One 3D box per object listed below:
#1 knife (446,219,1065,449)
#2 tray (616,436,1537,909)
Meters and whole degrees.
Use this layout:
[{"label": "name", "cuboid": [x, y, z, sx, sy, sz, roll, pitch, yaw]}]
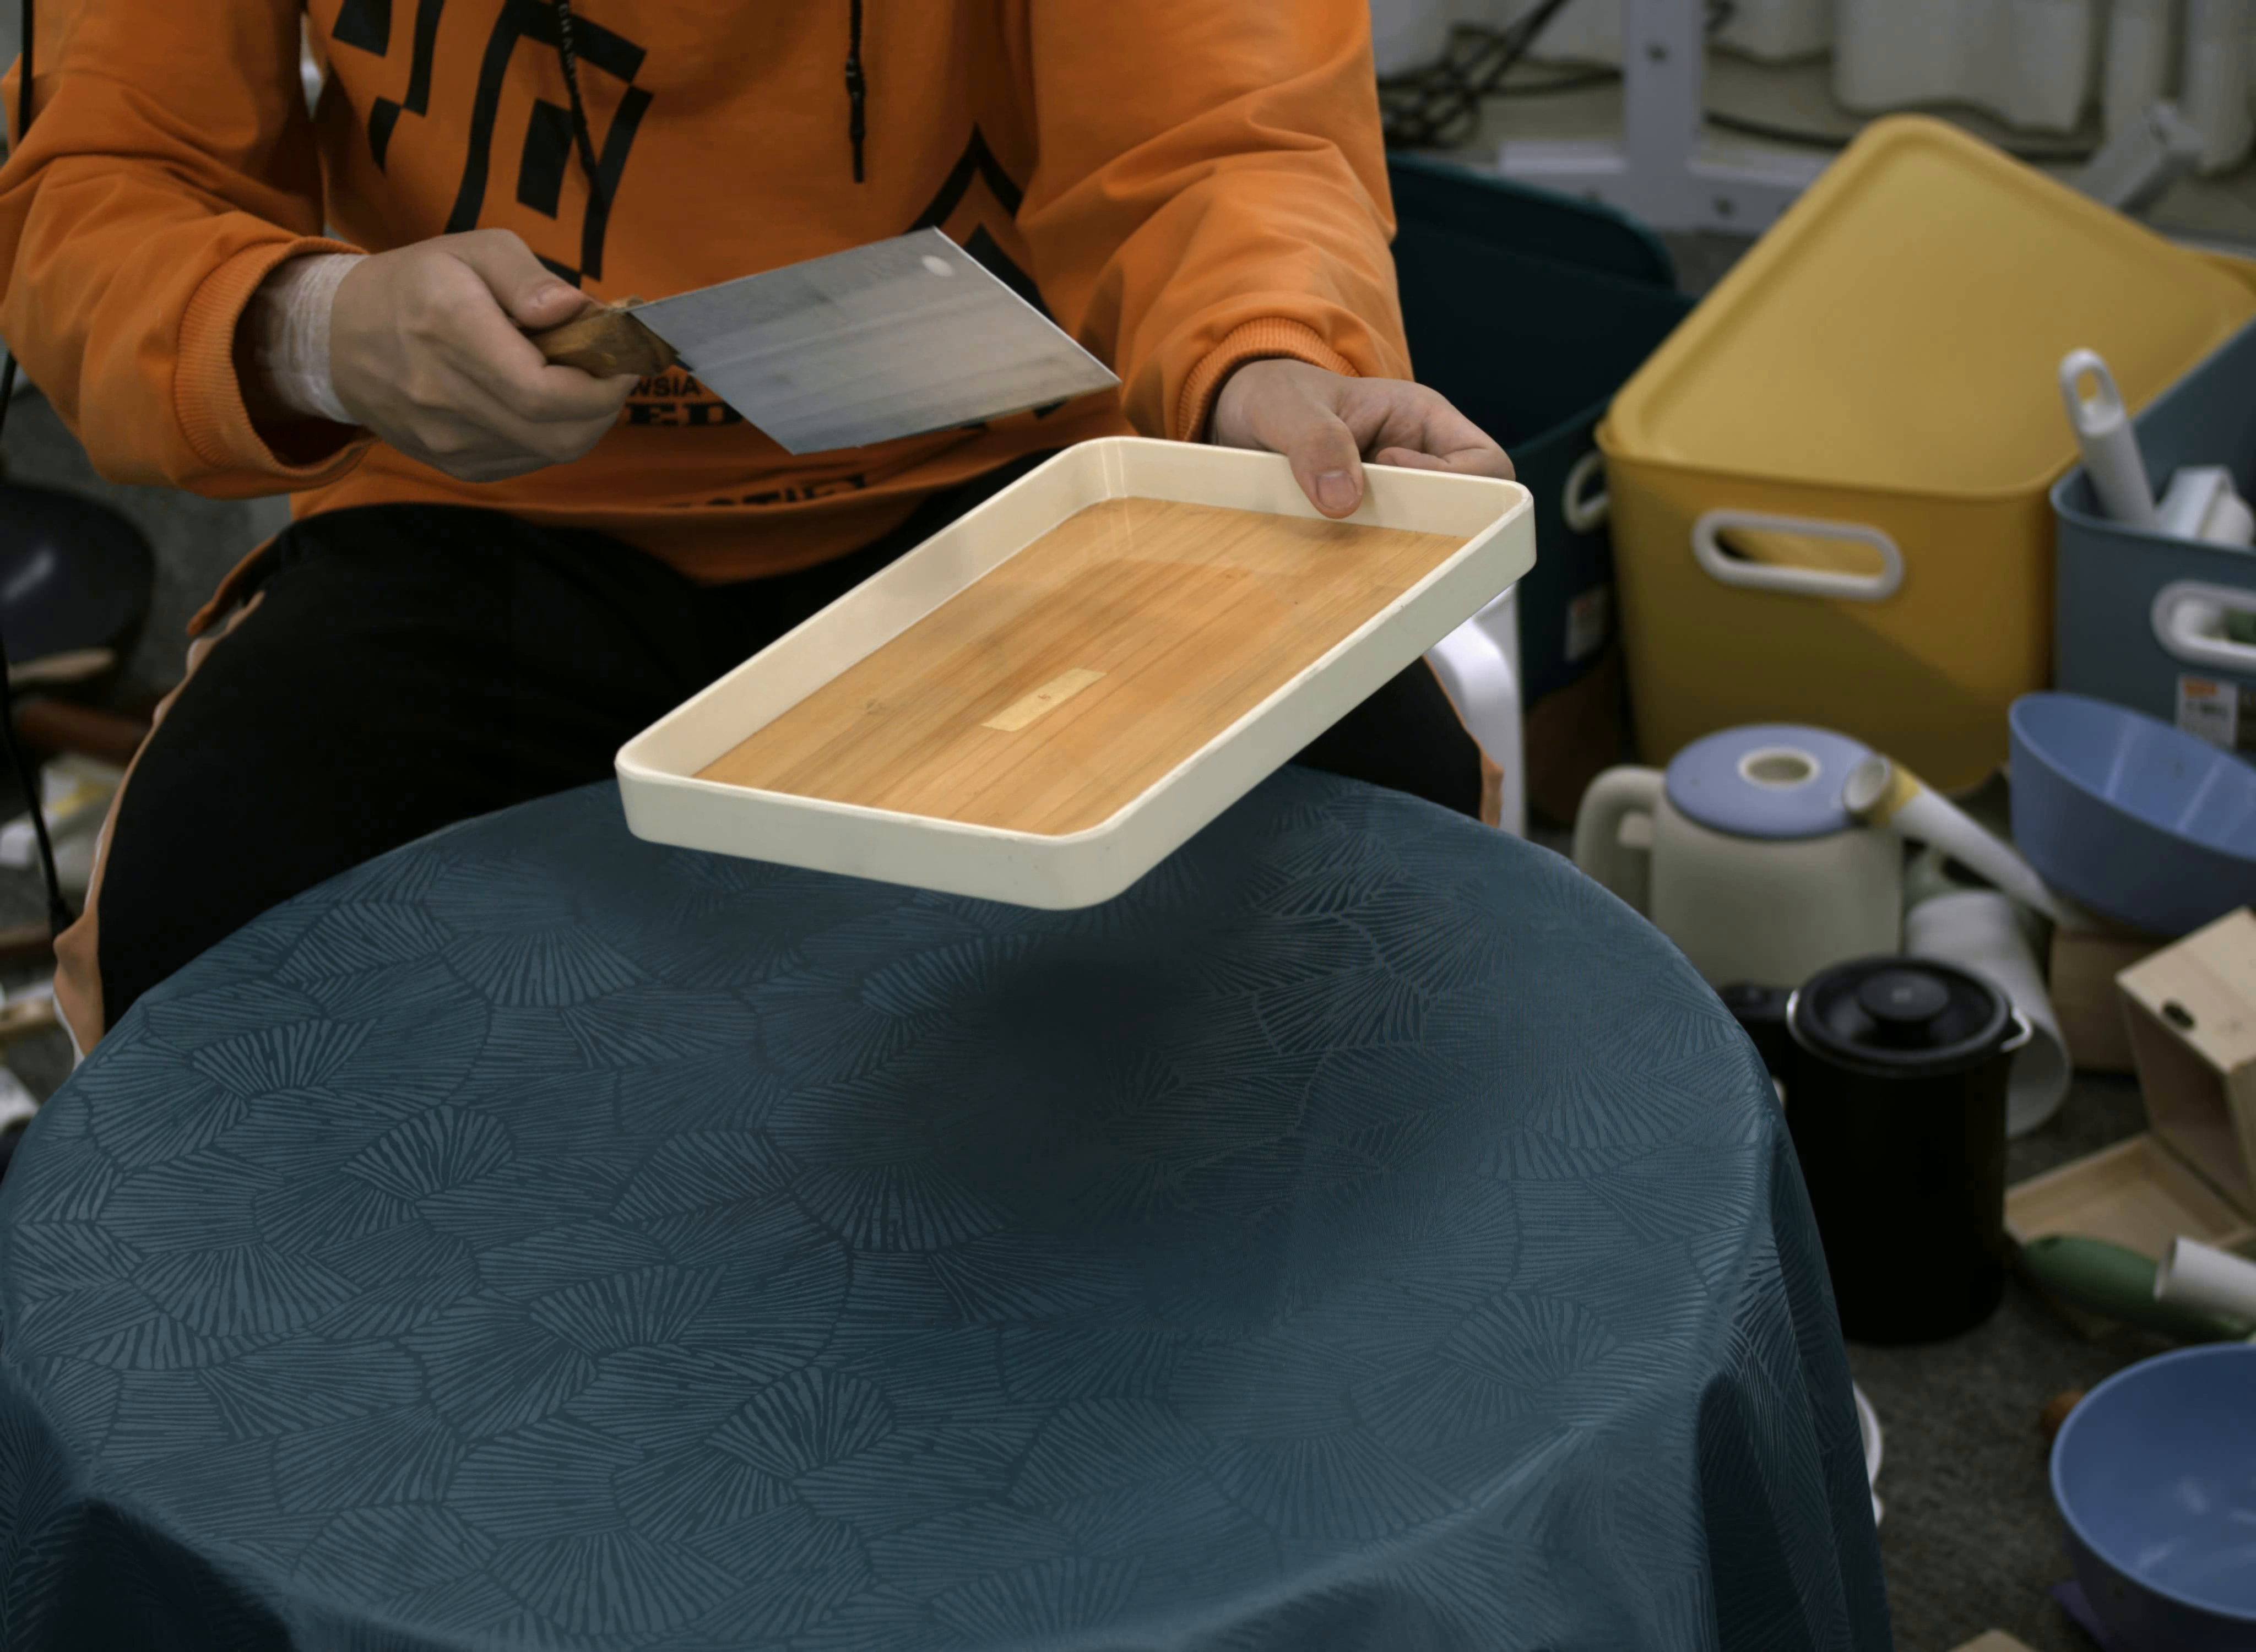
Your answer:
[{"label": "knife", "cuboid": [-0.129, -0.161, 1.954, 0.302, 0.092, 0.021, -7, 53, 51]}, {"label": "tray", "cuboid": [-0.011, -0.056, 1.863, 0.190, 0.027, 0.305, 9, 29, 32]}]
